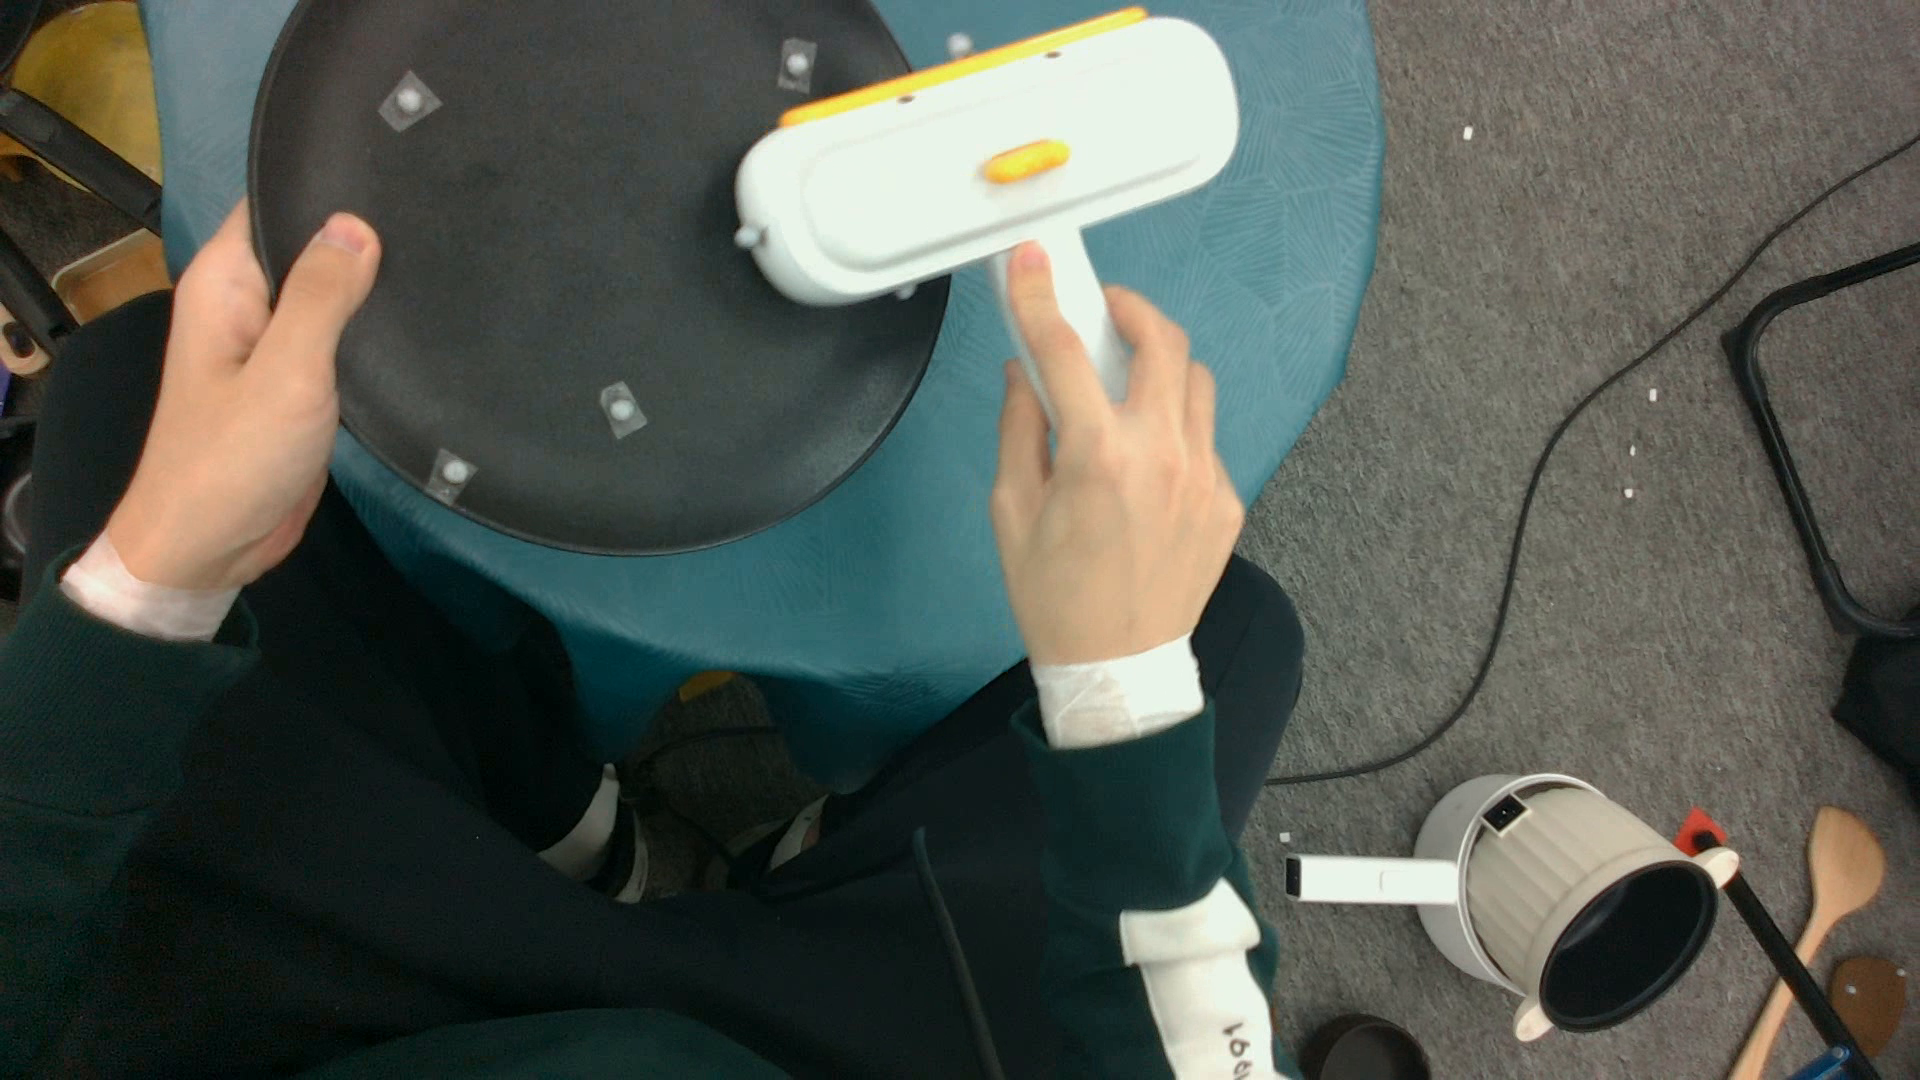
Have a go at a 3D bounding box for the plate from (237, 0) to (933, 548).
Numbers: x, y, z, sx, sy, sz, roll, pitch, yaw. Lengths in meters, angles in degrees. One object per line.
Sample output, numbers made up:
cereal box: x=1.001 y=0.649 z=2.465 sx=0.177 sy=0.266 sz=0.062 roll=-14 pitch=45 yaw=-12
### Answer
plate: x=-0.125 y=-0.119 z=0.501 sx=0.245 sy=0.023 sz=0.244 roll=-1 pitch=93 yaw=-23

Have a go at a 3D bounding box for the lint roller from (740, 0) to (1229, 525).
lint roller: x=0.035 y=-0.097 z=0.521 sx=0.193 sy=0.074 sz=0.192 roll=-25 pitch=102 yaw=-18
